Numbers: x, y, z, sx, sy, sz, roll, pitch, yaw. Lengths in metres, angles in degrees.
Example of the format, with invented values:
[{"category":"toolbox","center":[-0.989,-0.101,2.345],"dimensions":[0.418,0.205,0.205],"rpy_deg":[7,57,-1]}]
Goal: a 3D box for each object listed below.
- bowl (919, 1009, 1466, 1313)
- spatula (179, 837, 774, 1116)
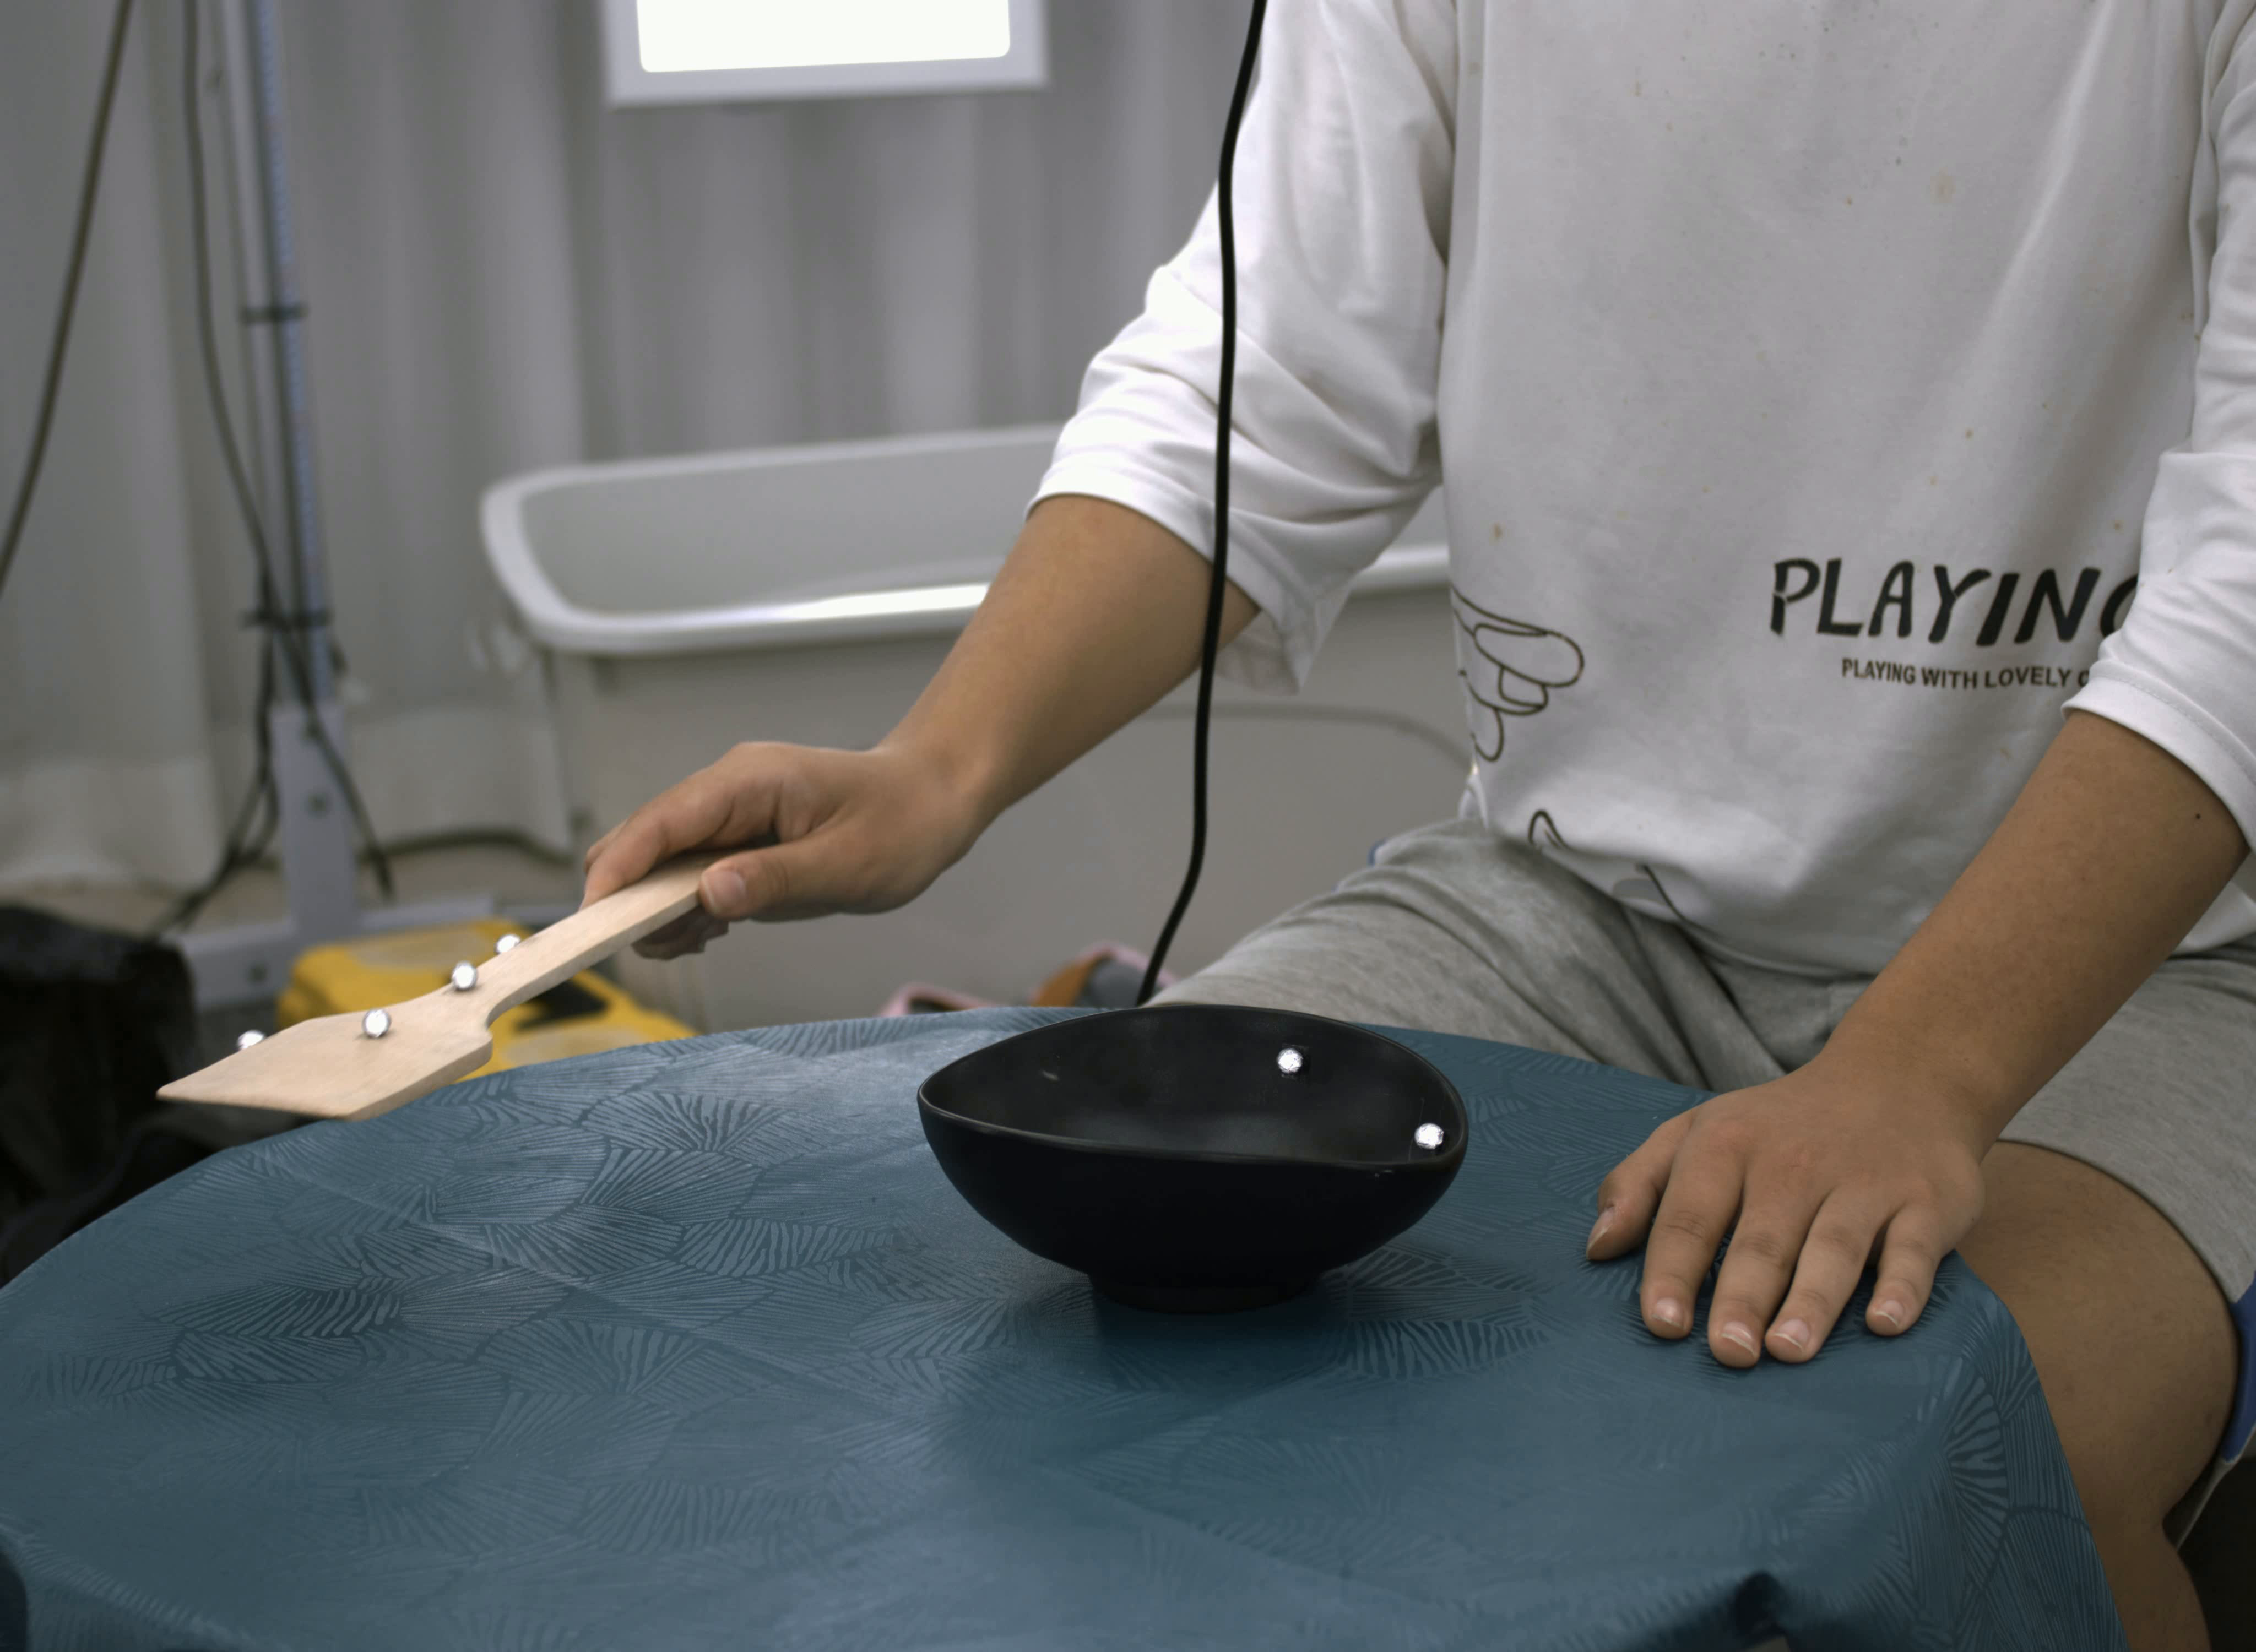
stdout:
[{"category":"bowl","center":[0.020,0.104,1.632],"dimensions":[0.170,0.066,0.138],"rpy_deg":[5,16,21]},{"category":"spatula","center":[-0.190,0.045,1.716],"dimensions":[0.072,0.010,0.294],"rpy_deg":[3,17,25]}]
